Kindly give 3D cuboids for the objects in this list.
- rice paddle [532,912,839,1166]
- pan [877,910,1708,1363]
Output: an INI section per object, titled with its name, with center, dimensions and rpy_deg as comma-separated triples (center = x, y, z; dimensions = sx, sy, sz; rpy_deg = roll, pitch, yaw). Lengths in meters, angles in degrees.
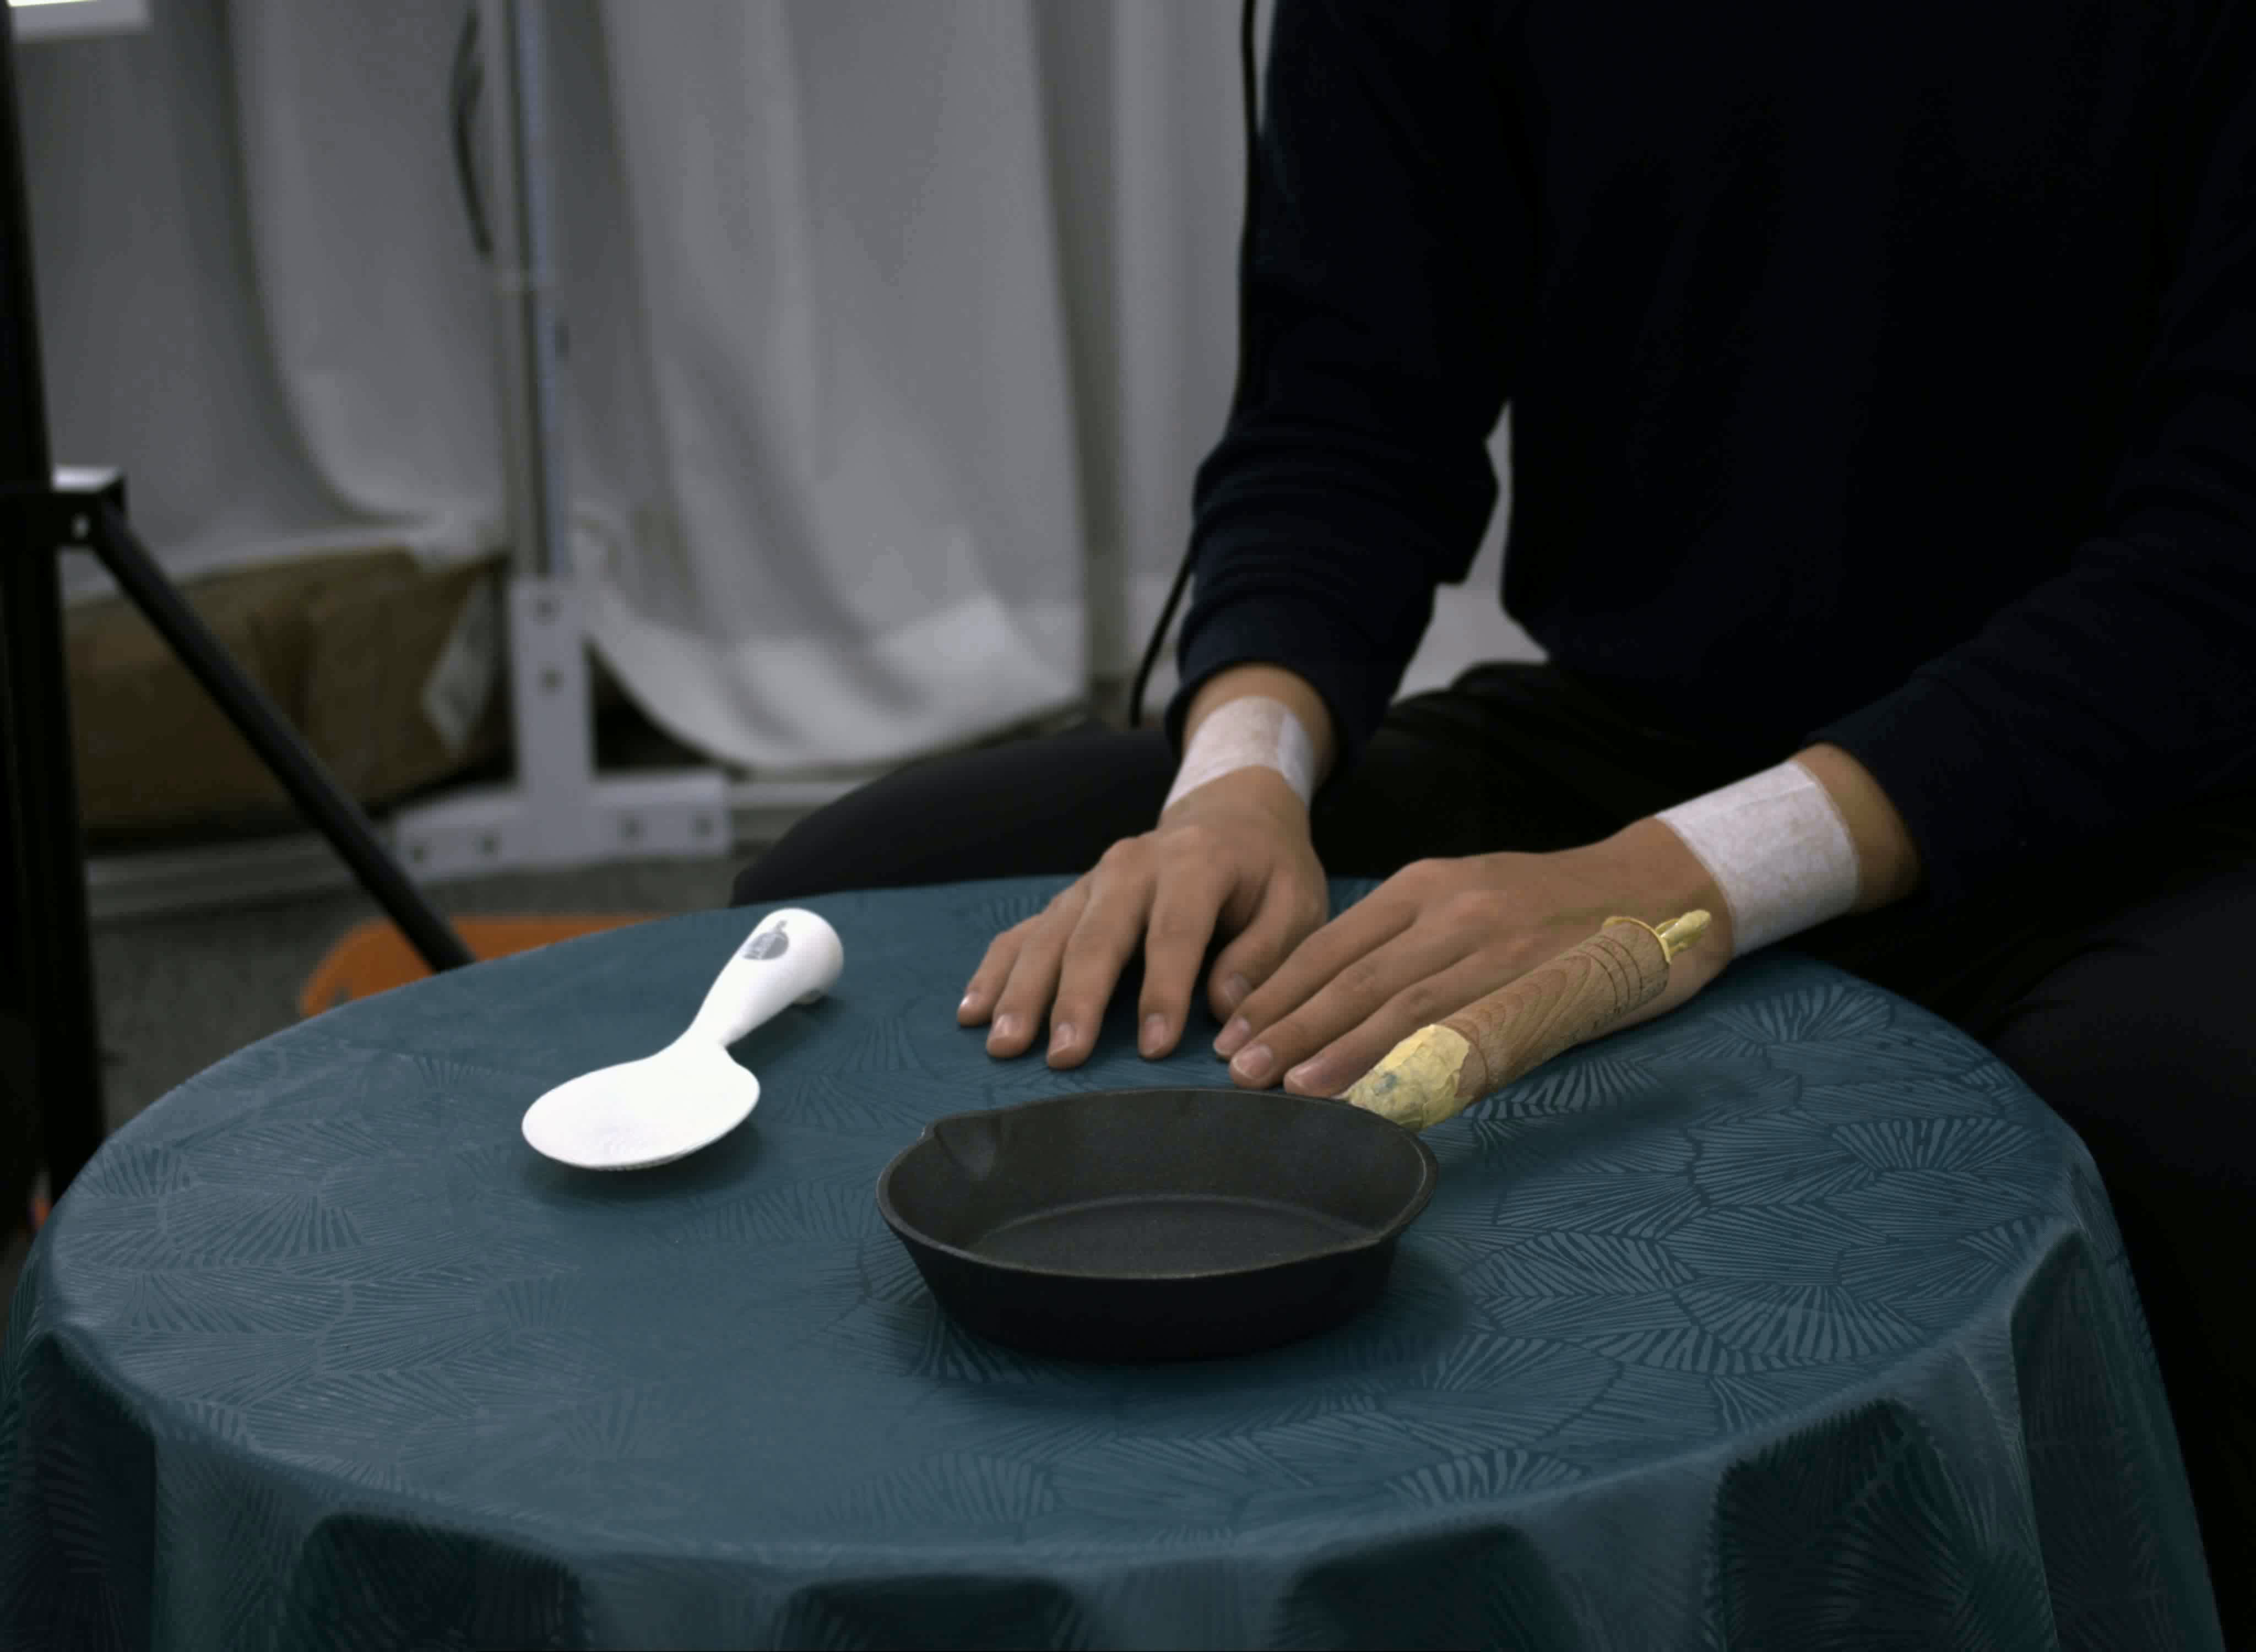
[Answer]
[rice paddle]
center = -0.131, 0.069, 1.665
dimensions = 0.069, 0.029, 0.204
rpy_deg = -1, 15, 14
[pan]
center = 0.067, 0.086, 1.532
dimensions = 0.317, 0.049, 0.173
rpy_deg = -19, 22, -41
